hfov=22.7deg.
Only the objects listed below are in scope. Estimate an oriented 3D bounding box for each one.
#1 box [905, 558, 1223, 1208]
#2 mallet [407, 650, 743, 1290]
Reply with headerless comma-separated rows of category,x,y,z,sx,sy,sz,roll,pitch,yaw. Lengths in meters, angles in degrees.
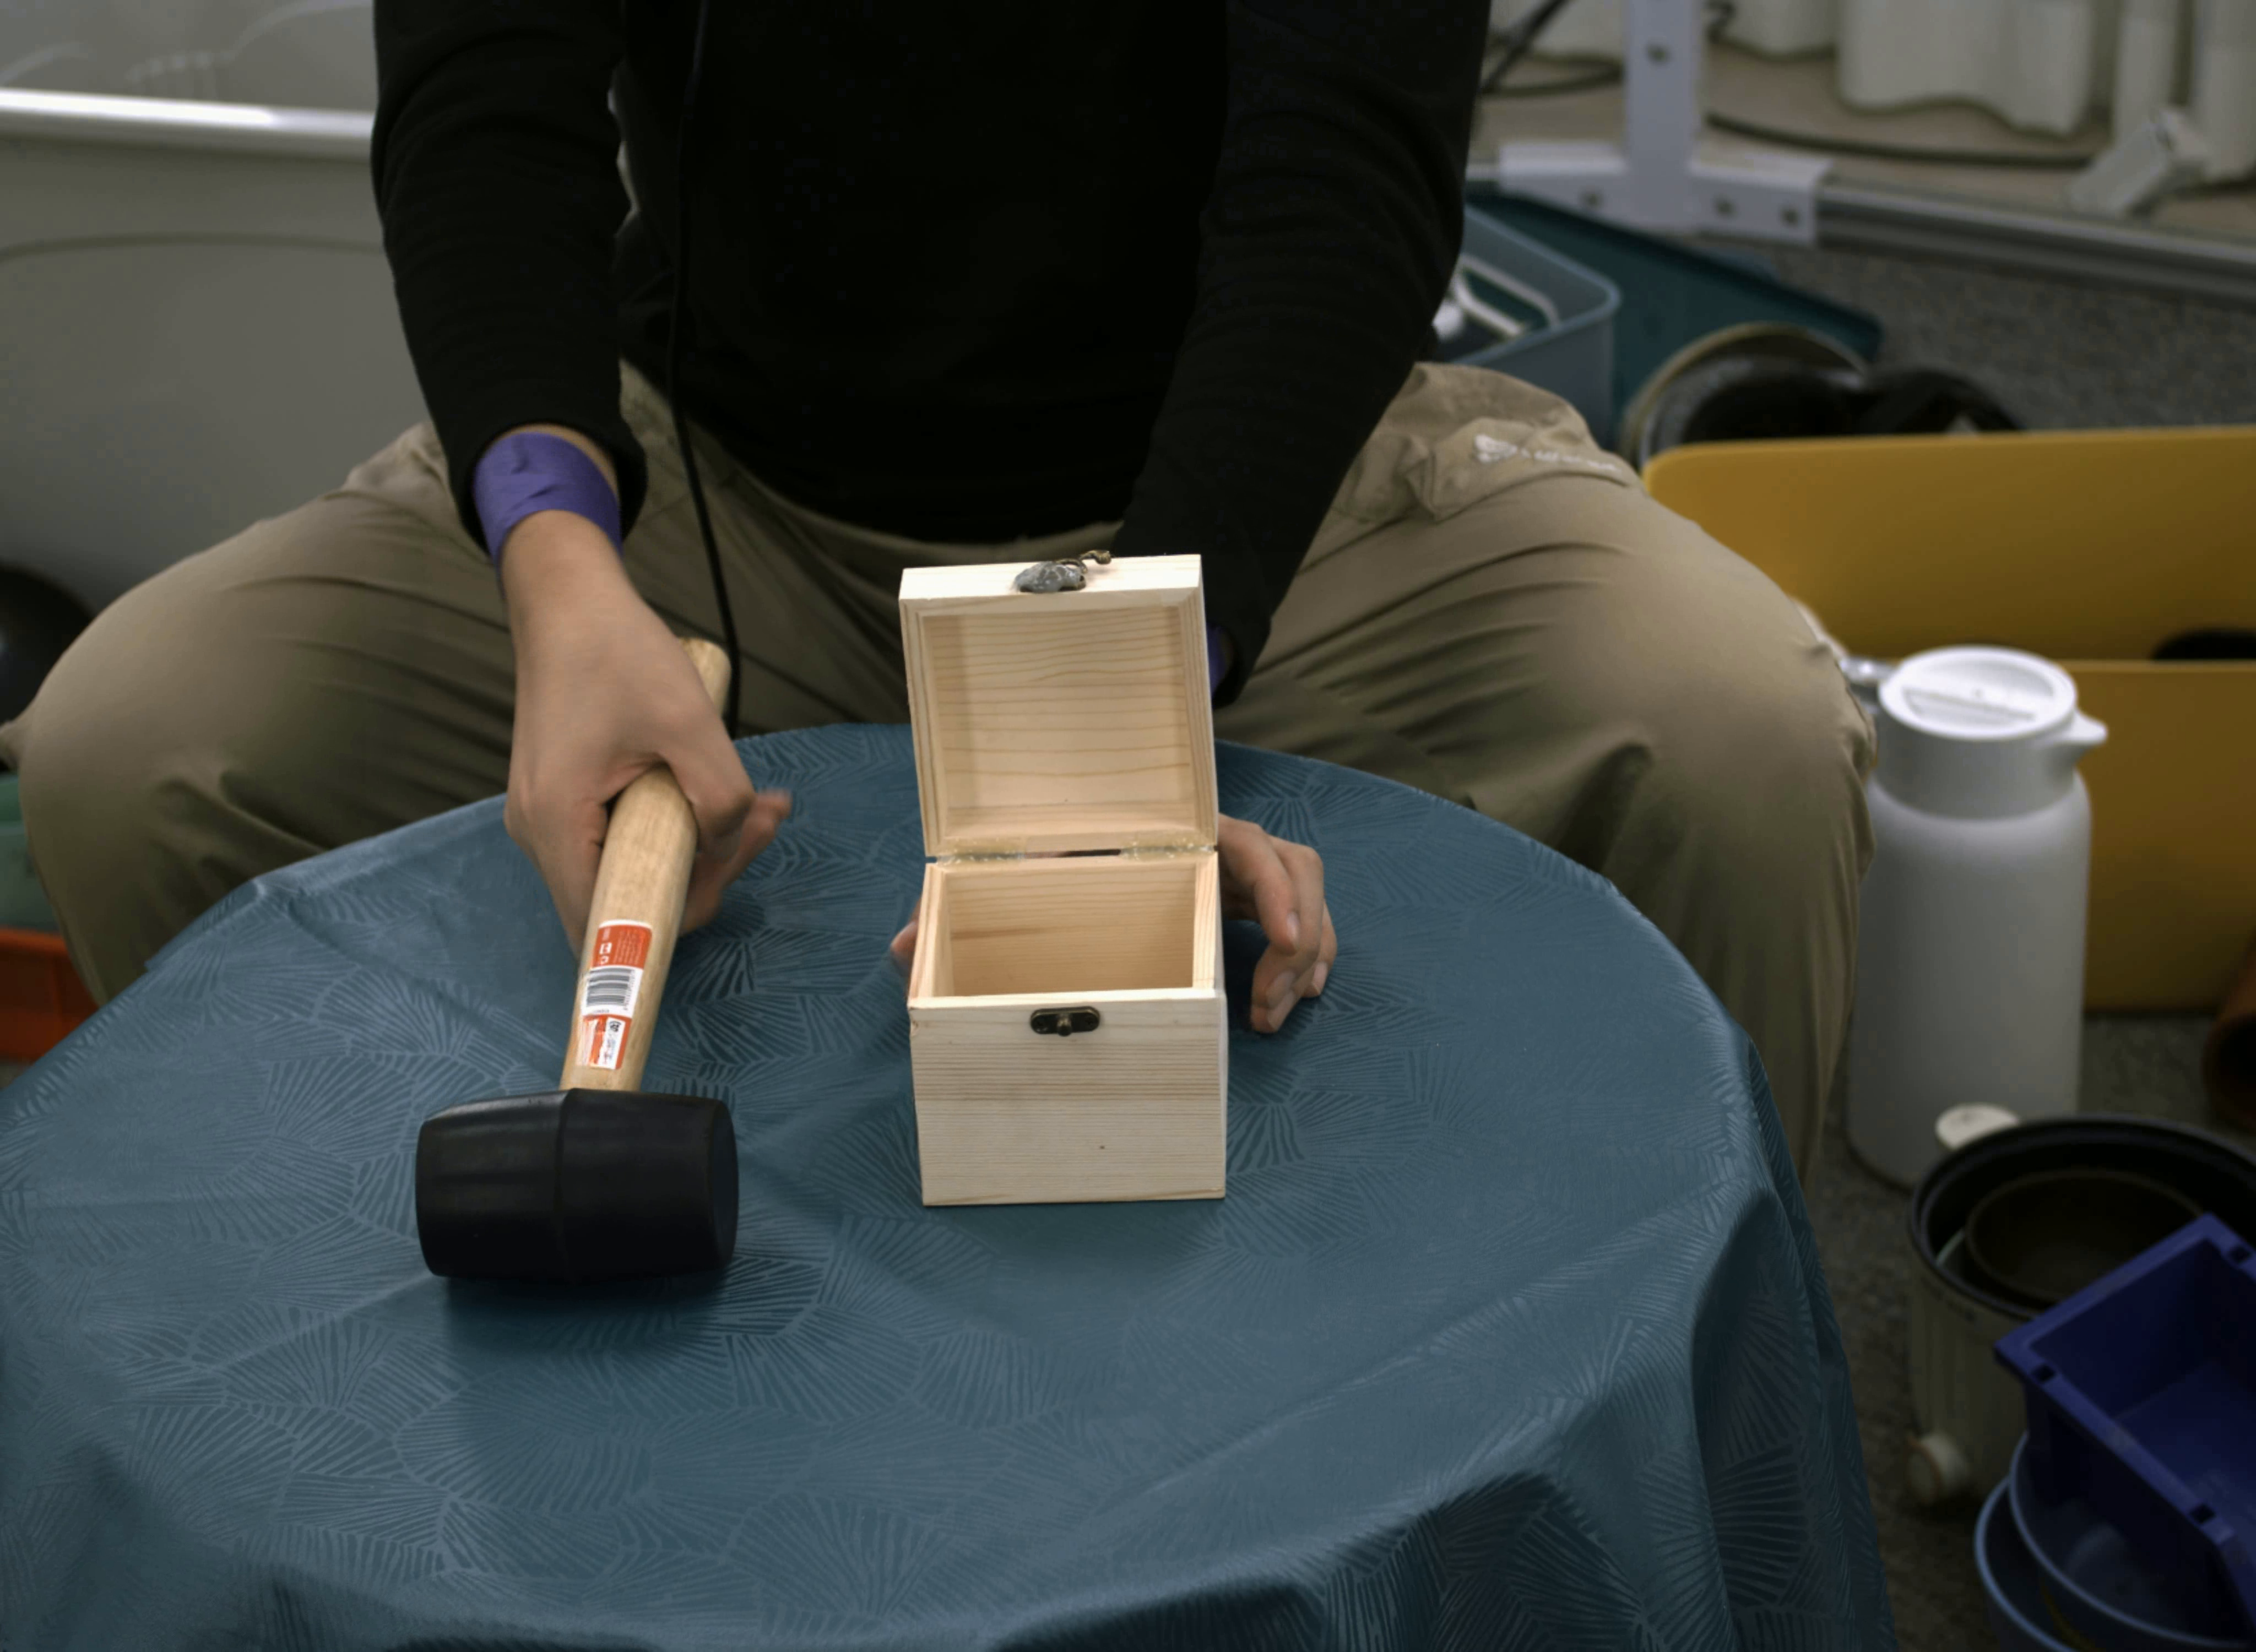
box,-0.021,0.018,1.869,0.102,0.183,0.136,-1,24,2
mallet,-0.171,0.035,1.928,0.101,0.063,0.345,2,37,3
